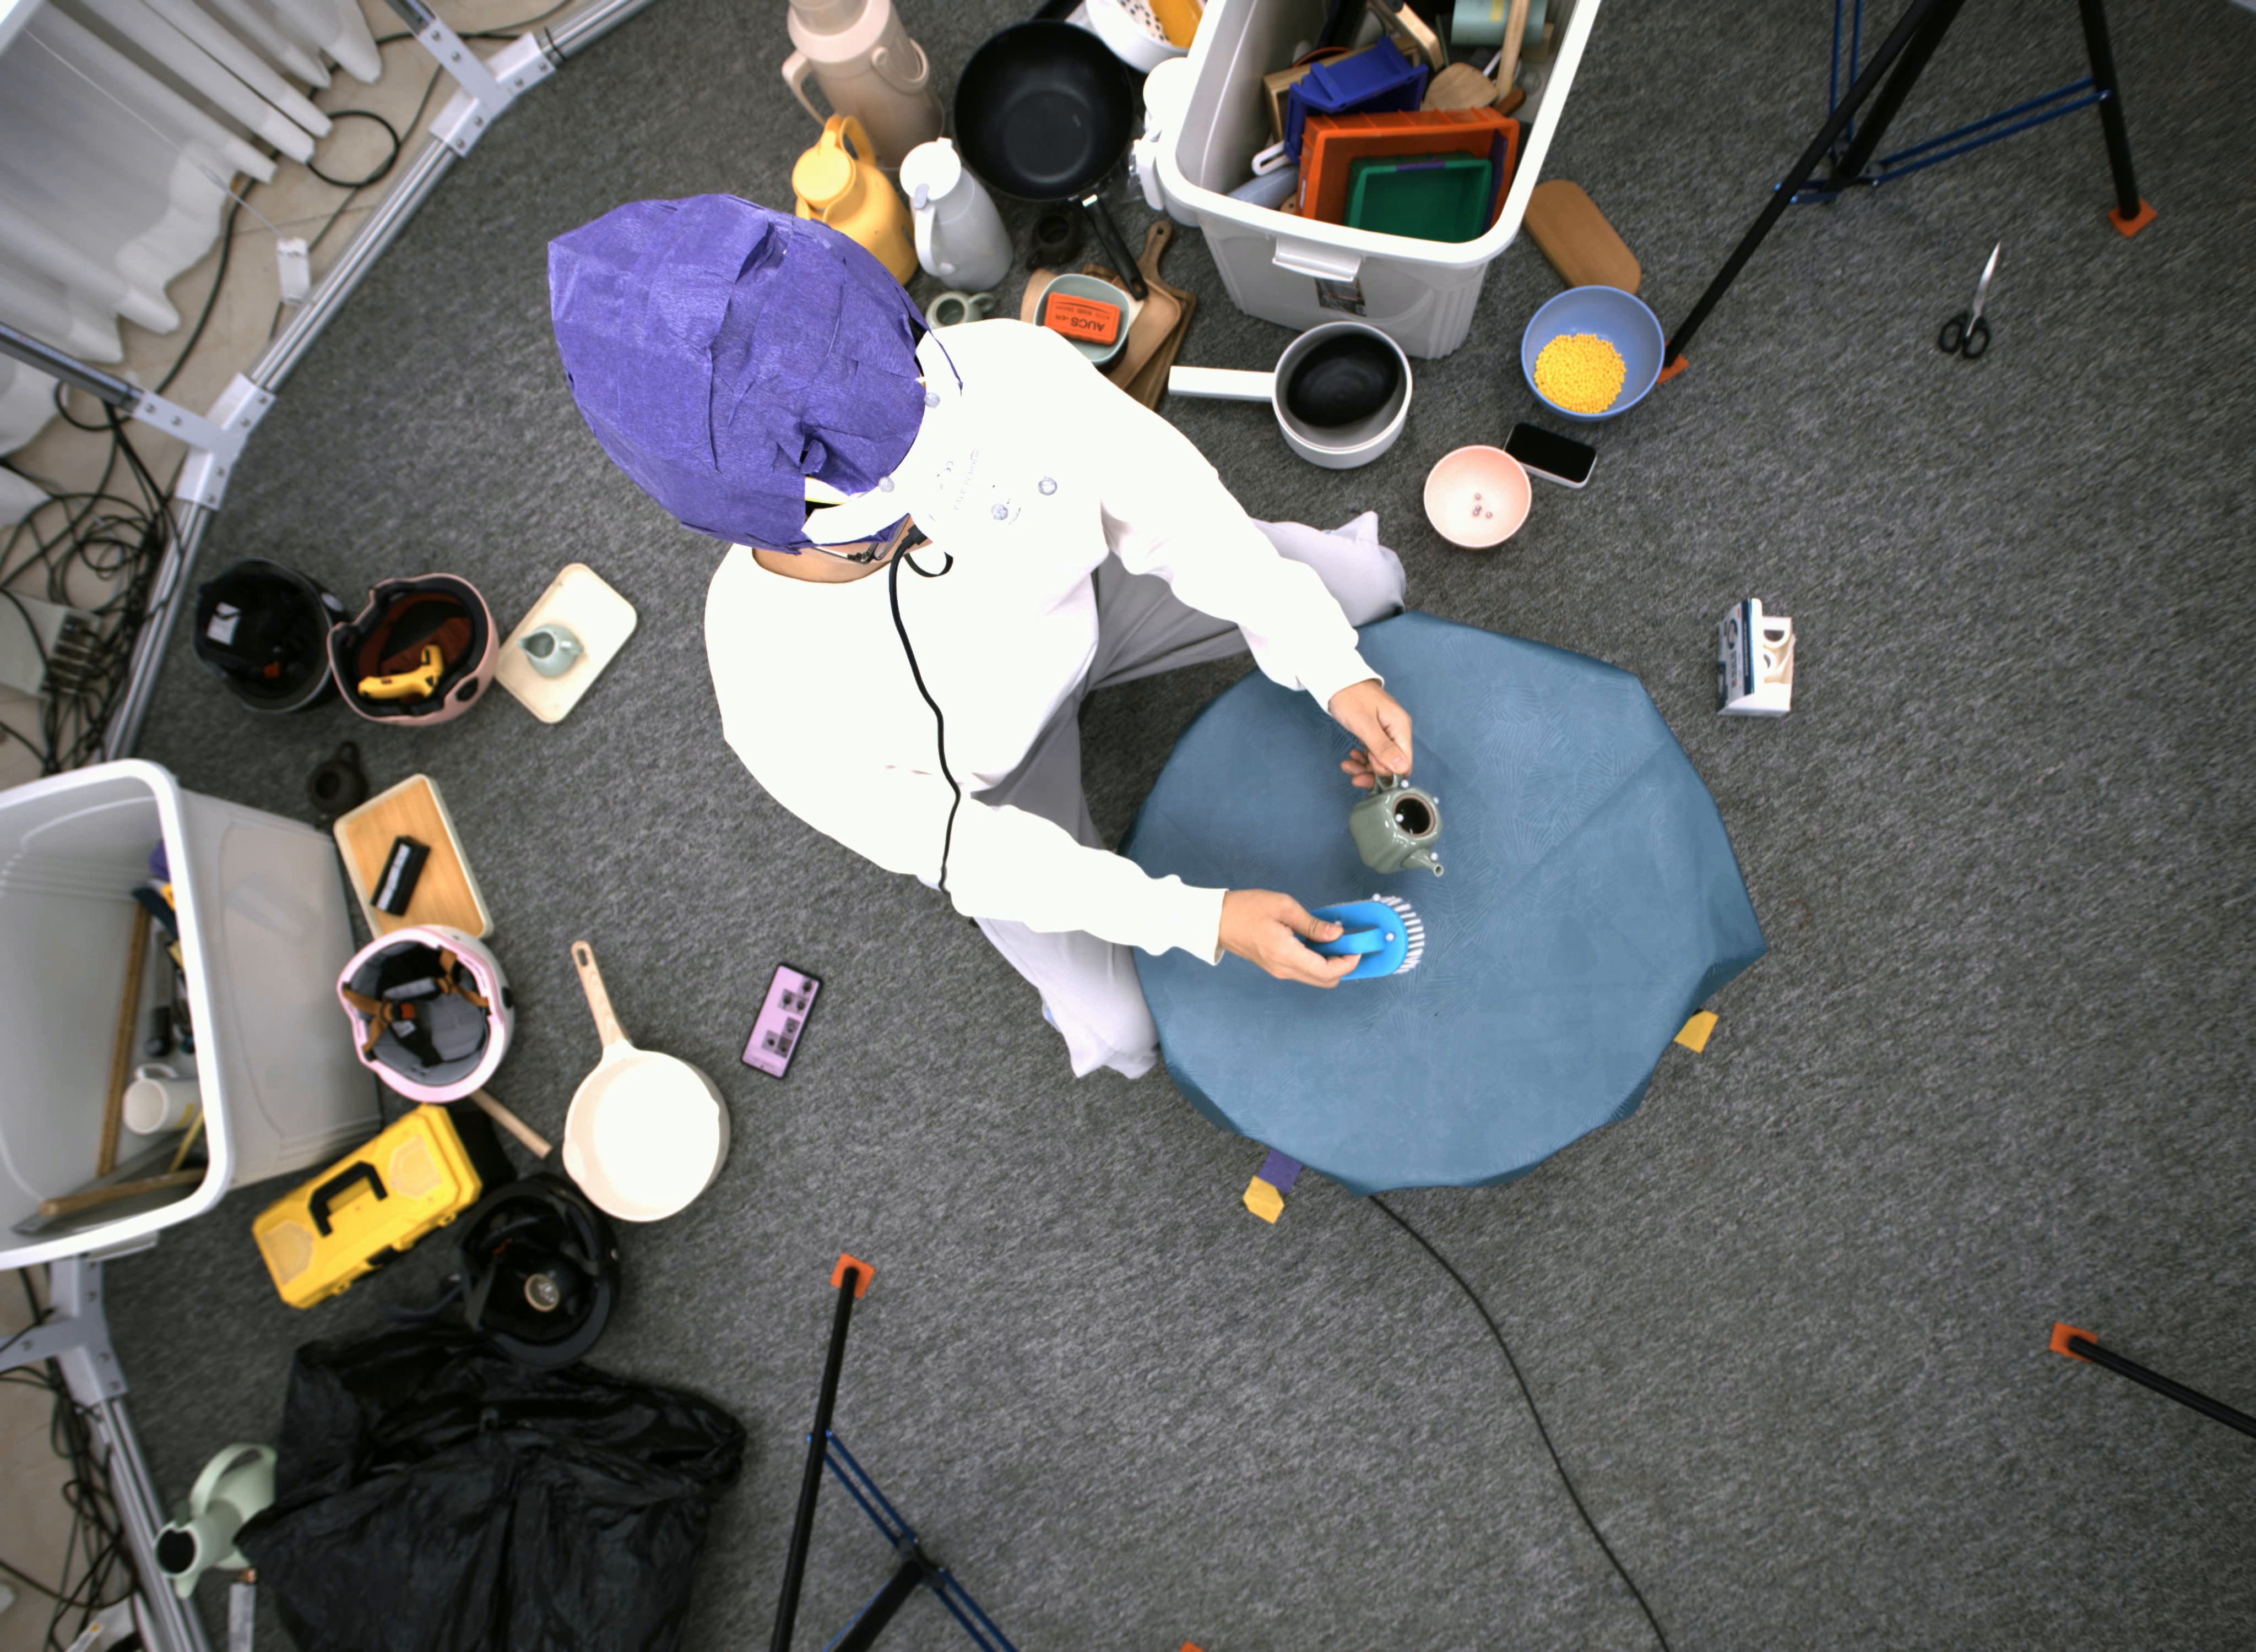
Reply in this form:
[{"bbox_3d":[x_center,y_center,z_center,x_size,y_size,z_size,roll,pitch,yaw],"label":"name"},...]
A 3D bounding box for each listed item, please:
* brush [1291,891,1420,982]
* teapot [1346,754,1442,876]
[{"bbox_3d":[0.213,0.111,1.350,0.143,0.063,0.084,-9,94,48],"label":"brush"},{"bbox_3d":[0.266,-0.003,1.365,0.079,0.076,0.131,-14,77,-24],"label":"teapot"}]
